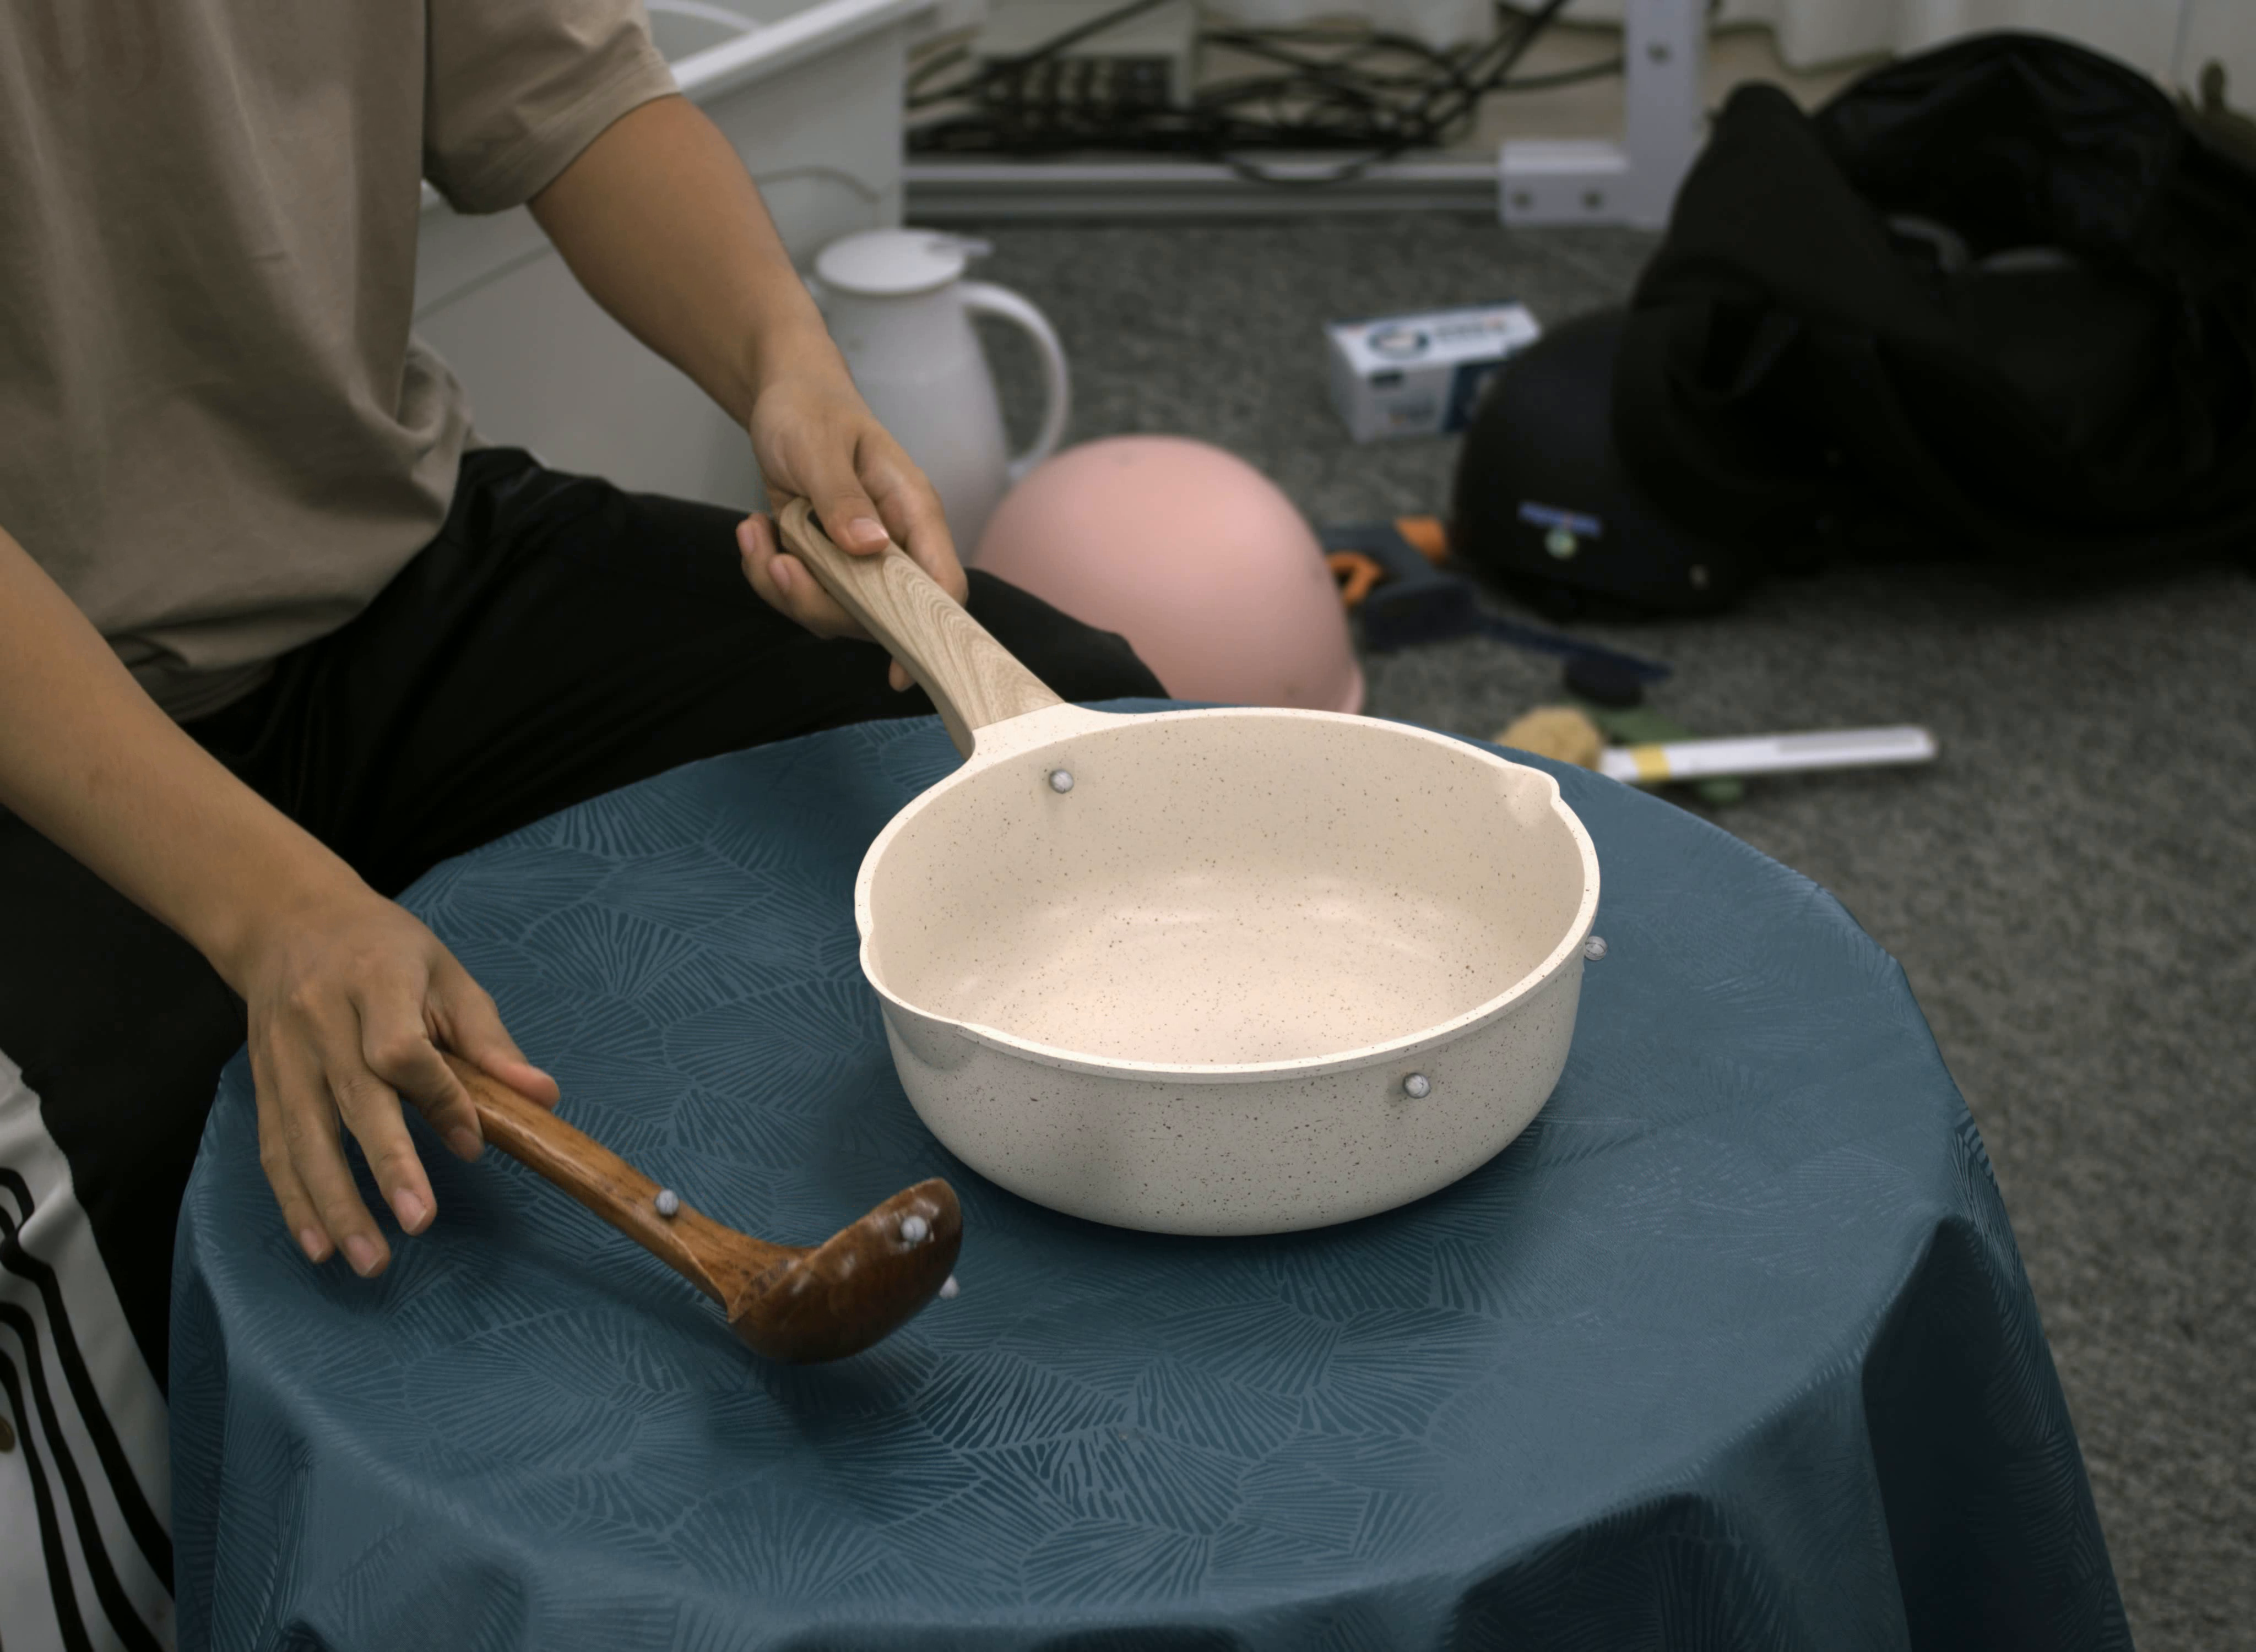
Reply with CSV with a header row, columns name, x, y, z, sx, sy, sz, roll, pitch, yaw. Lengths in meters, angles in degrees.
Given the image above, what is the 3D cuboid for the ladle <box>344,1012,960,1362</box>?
name,x,y,z,sx,sy,sz,roll,pitch,yaw
ladle,-0.163,0.096,1.798,0.083,0.076,0.274,-22,39,-40

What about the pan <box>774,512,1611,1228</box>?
name,x,y,z,sx,sy,sz,roll,pitch,yaw
pan,-0.008,0.009,1.973,0.265,0.101,0.436,-18,31,-25
